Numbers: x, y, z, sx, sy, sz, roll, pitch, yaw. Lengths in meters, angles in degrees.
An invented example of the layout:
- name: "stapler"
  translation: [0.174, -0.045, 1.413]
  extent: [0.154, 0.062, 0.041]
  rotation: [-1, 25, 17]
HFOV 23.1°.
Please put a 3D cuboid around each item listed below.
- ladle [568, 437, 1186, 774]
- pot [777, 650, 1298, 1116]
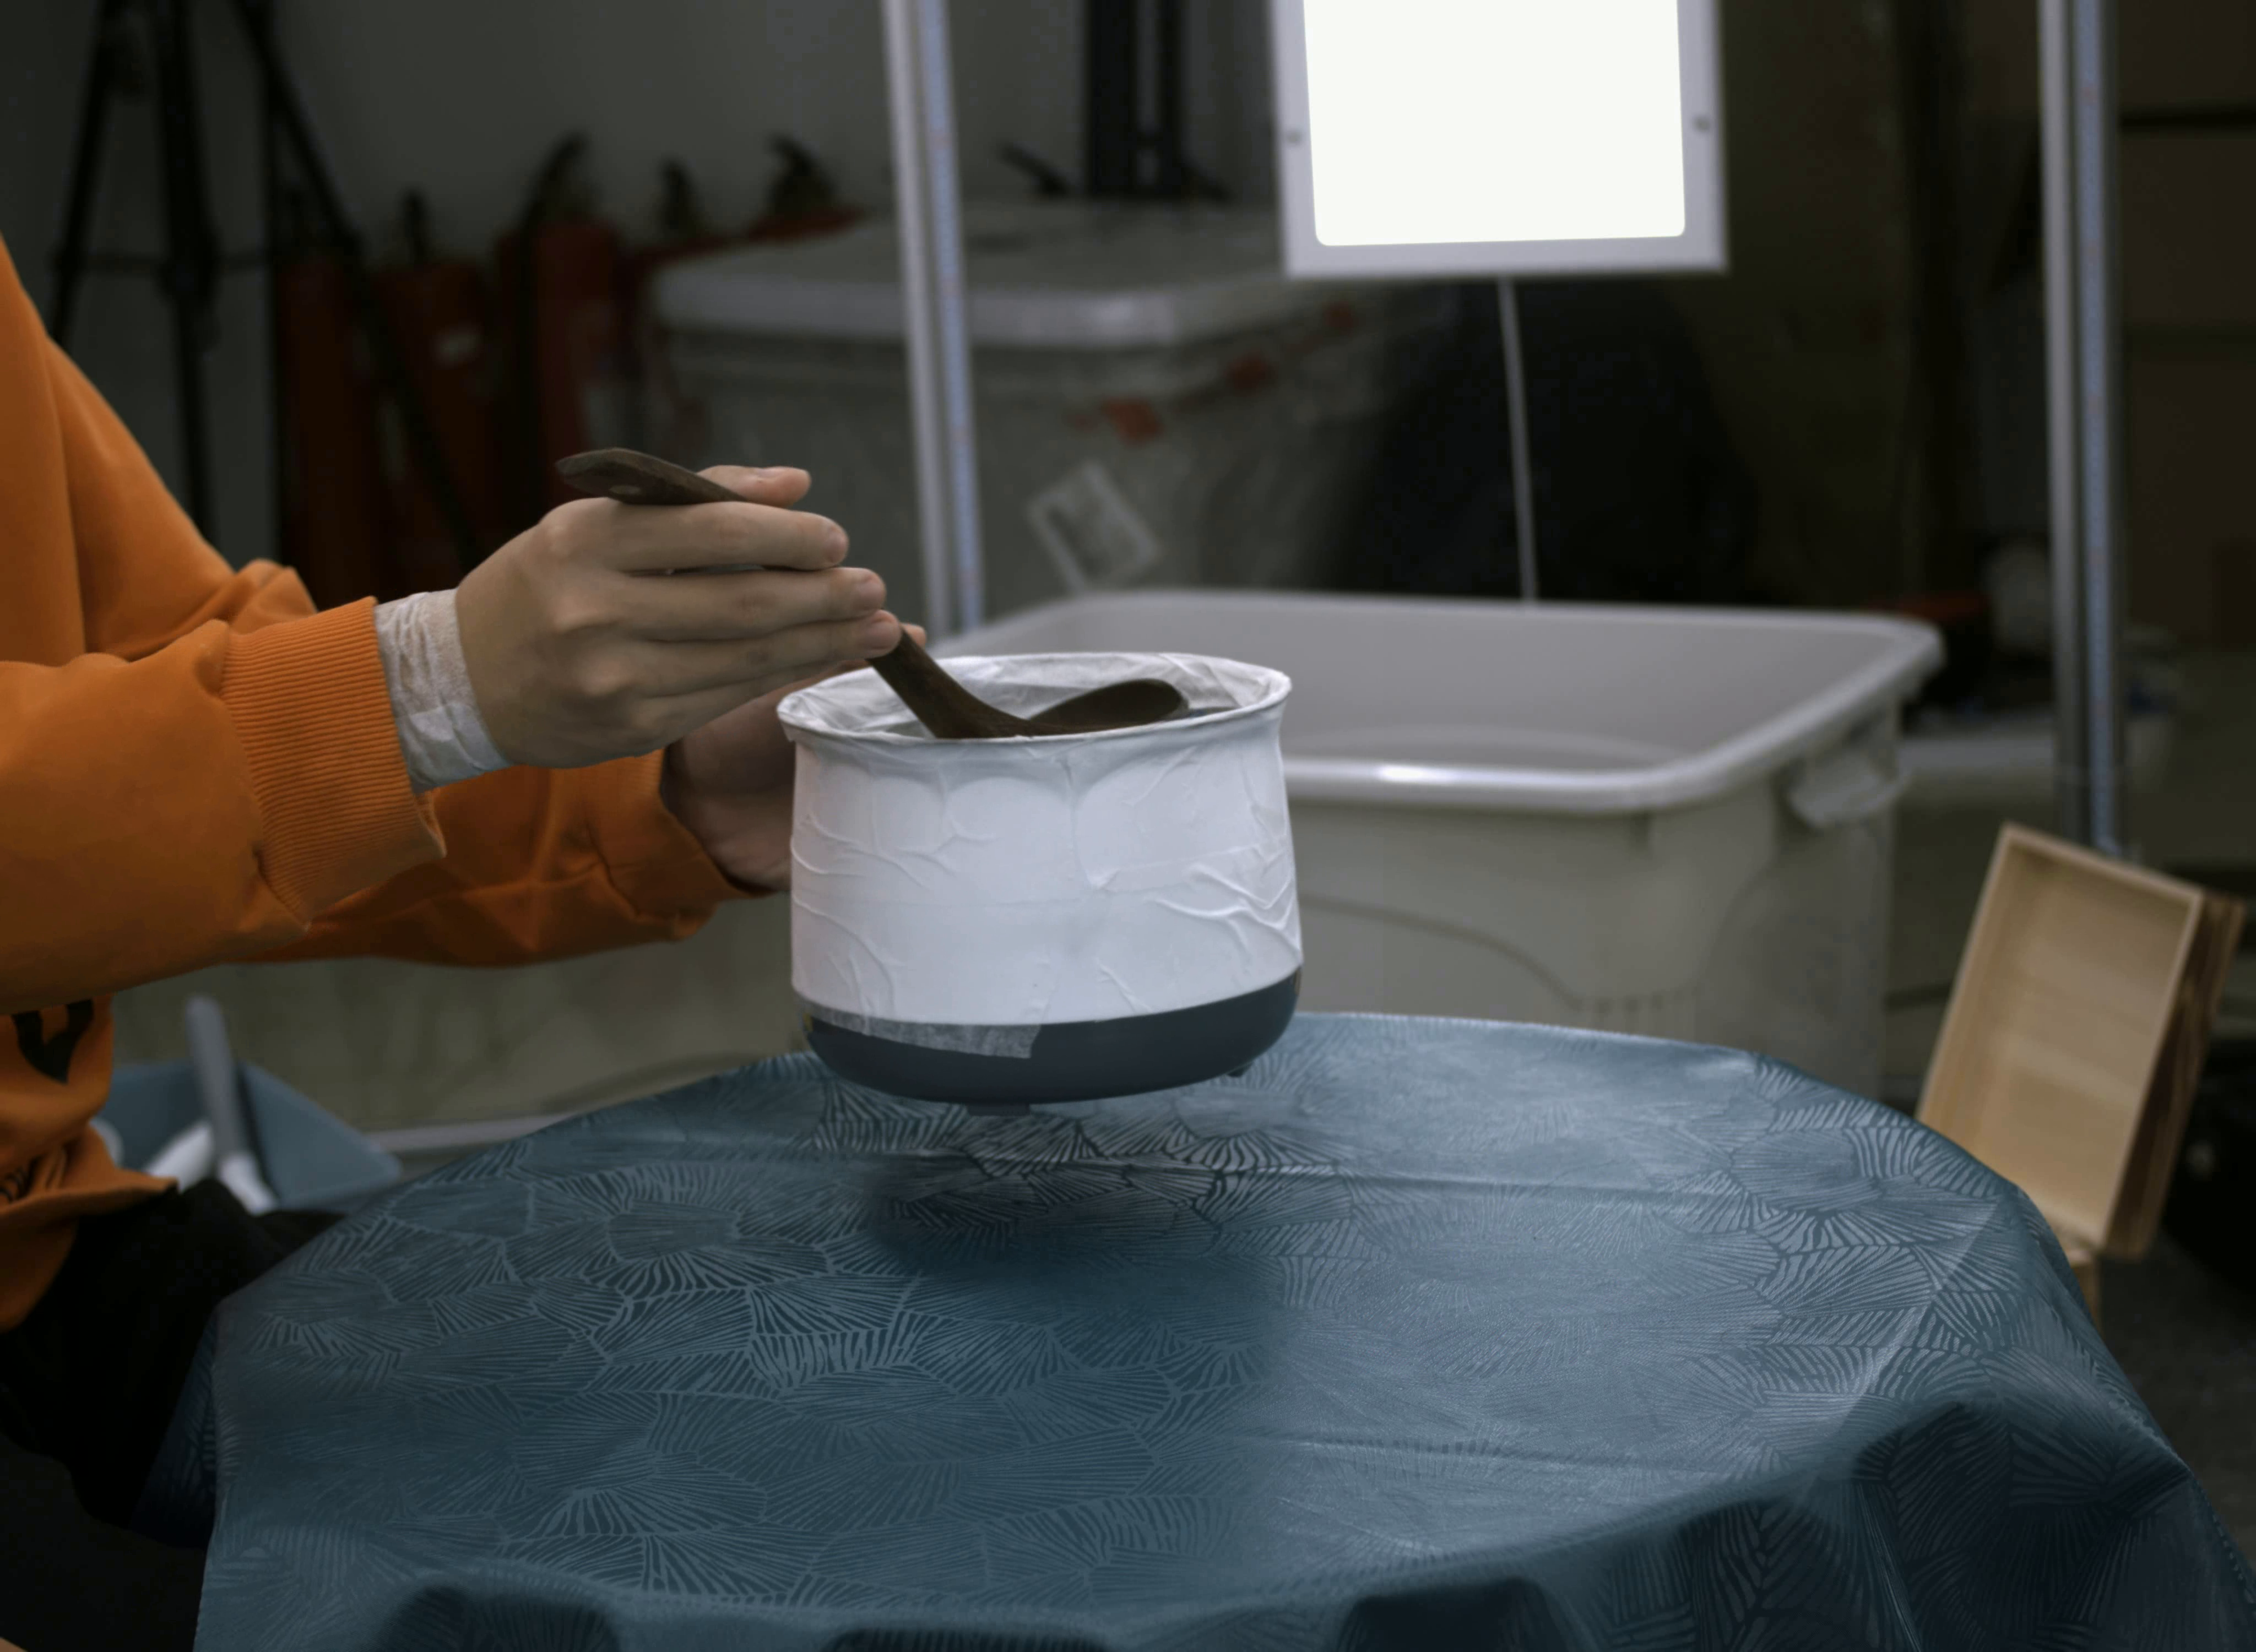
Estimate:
- name: "ladle"
  translation: [-0.080, -0.080, 1.789]
  extent: [0.077, 0.071, 0.269]
  rotation: [-17, -38, 35]
- name: "pot"
  translation: [-0.045, 0.013, 1.915]
  extent: [0.174, 0.137, 0.238]
  rotation: [-8, 12, -30]
